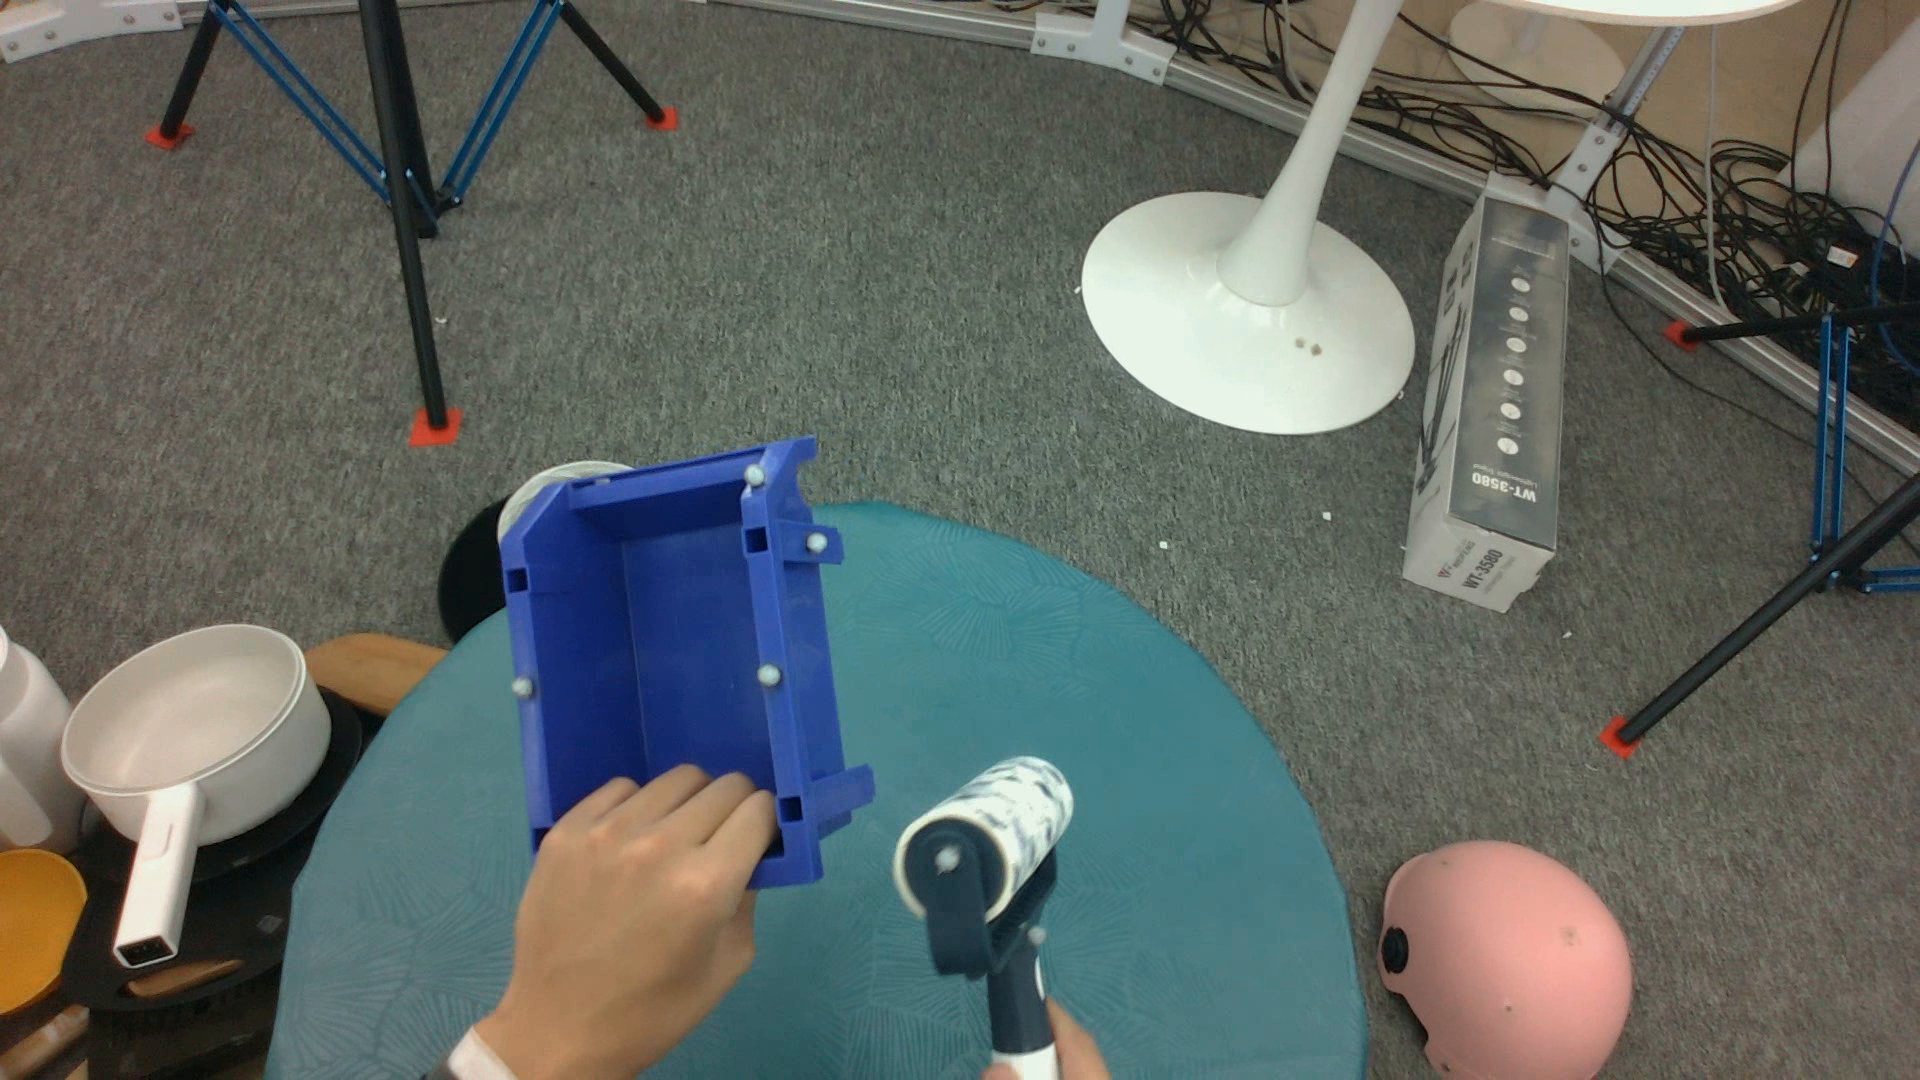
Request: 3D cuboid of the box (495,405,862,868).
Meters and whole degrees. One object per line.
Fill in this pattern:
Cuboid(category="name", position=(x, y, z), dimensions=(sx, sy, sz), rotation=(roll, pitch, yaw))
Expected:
Cuboid(category="box", position=(-0.120, 0.038, 0.587), dimensions=(0.124, 0.082, 0.179), rotation=(-8, 88, 15))

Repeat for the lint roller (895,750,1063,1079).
Cuboid(category="lint roller", position=(0.030, 0.222, 0.596), dimensions=(0.050, 0.176, 0.247), rotation=(-11, 87, 11))
